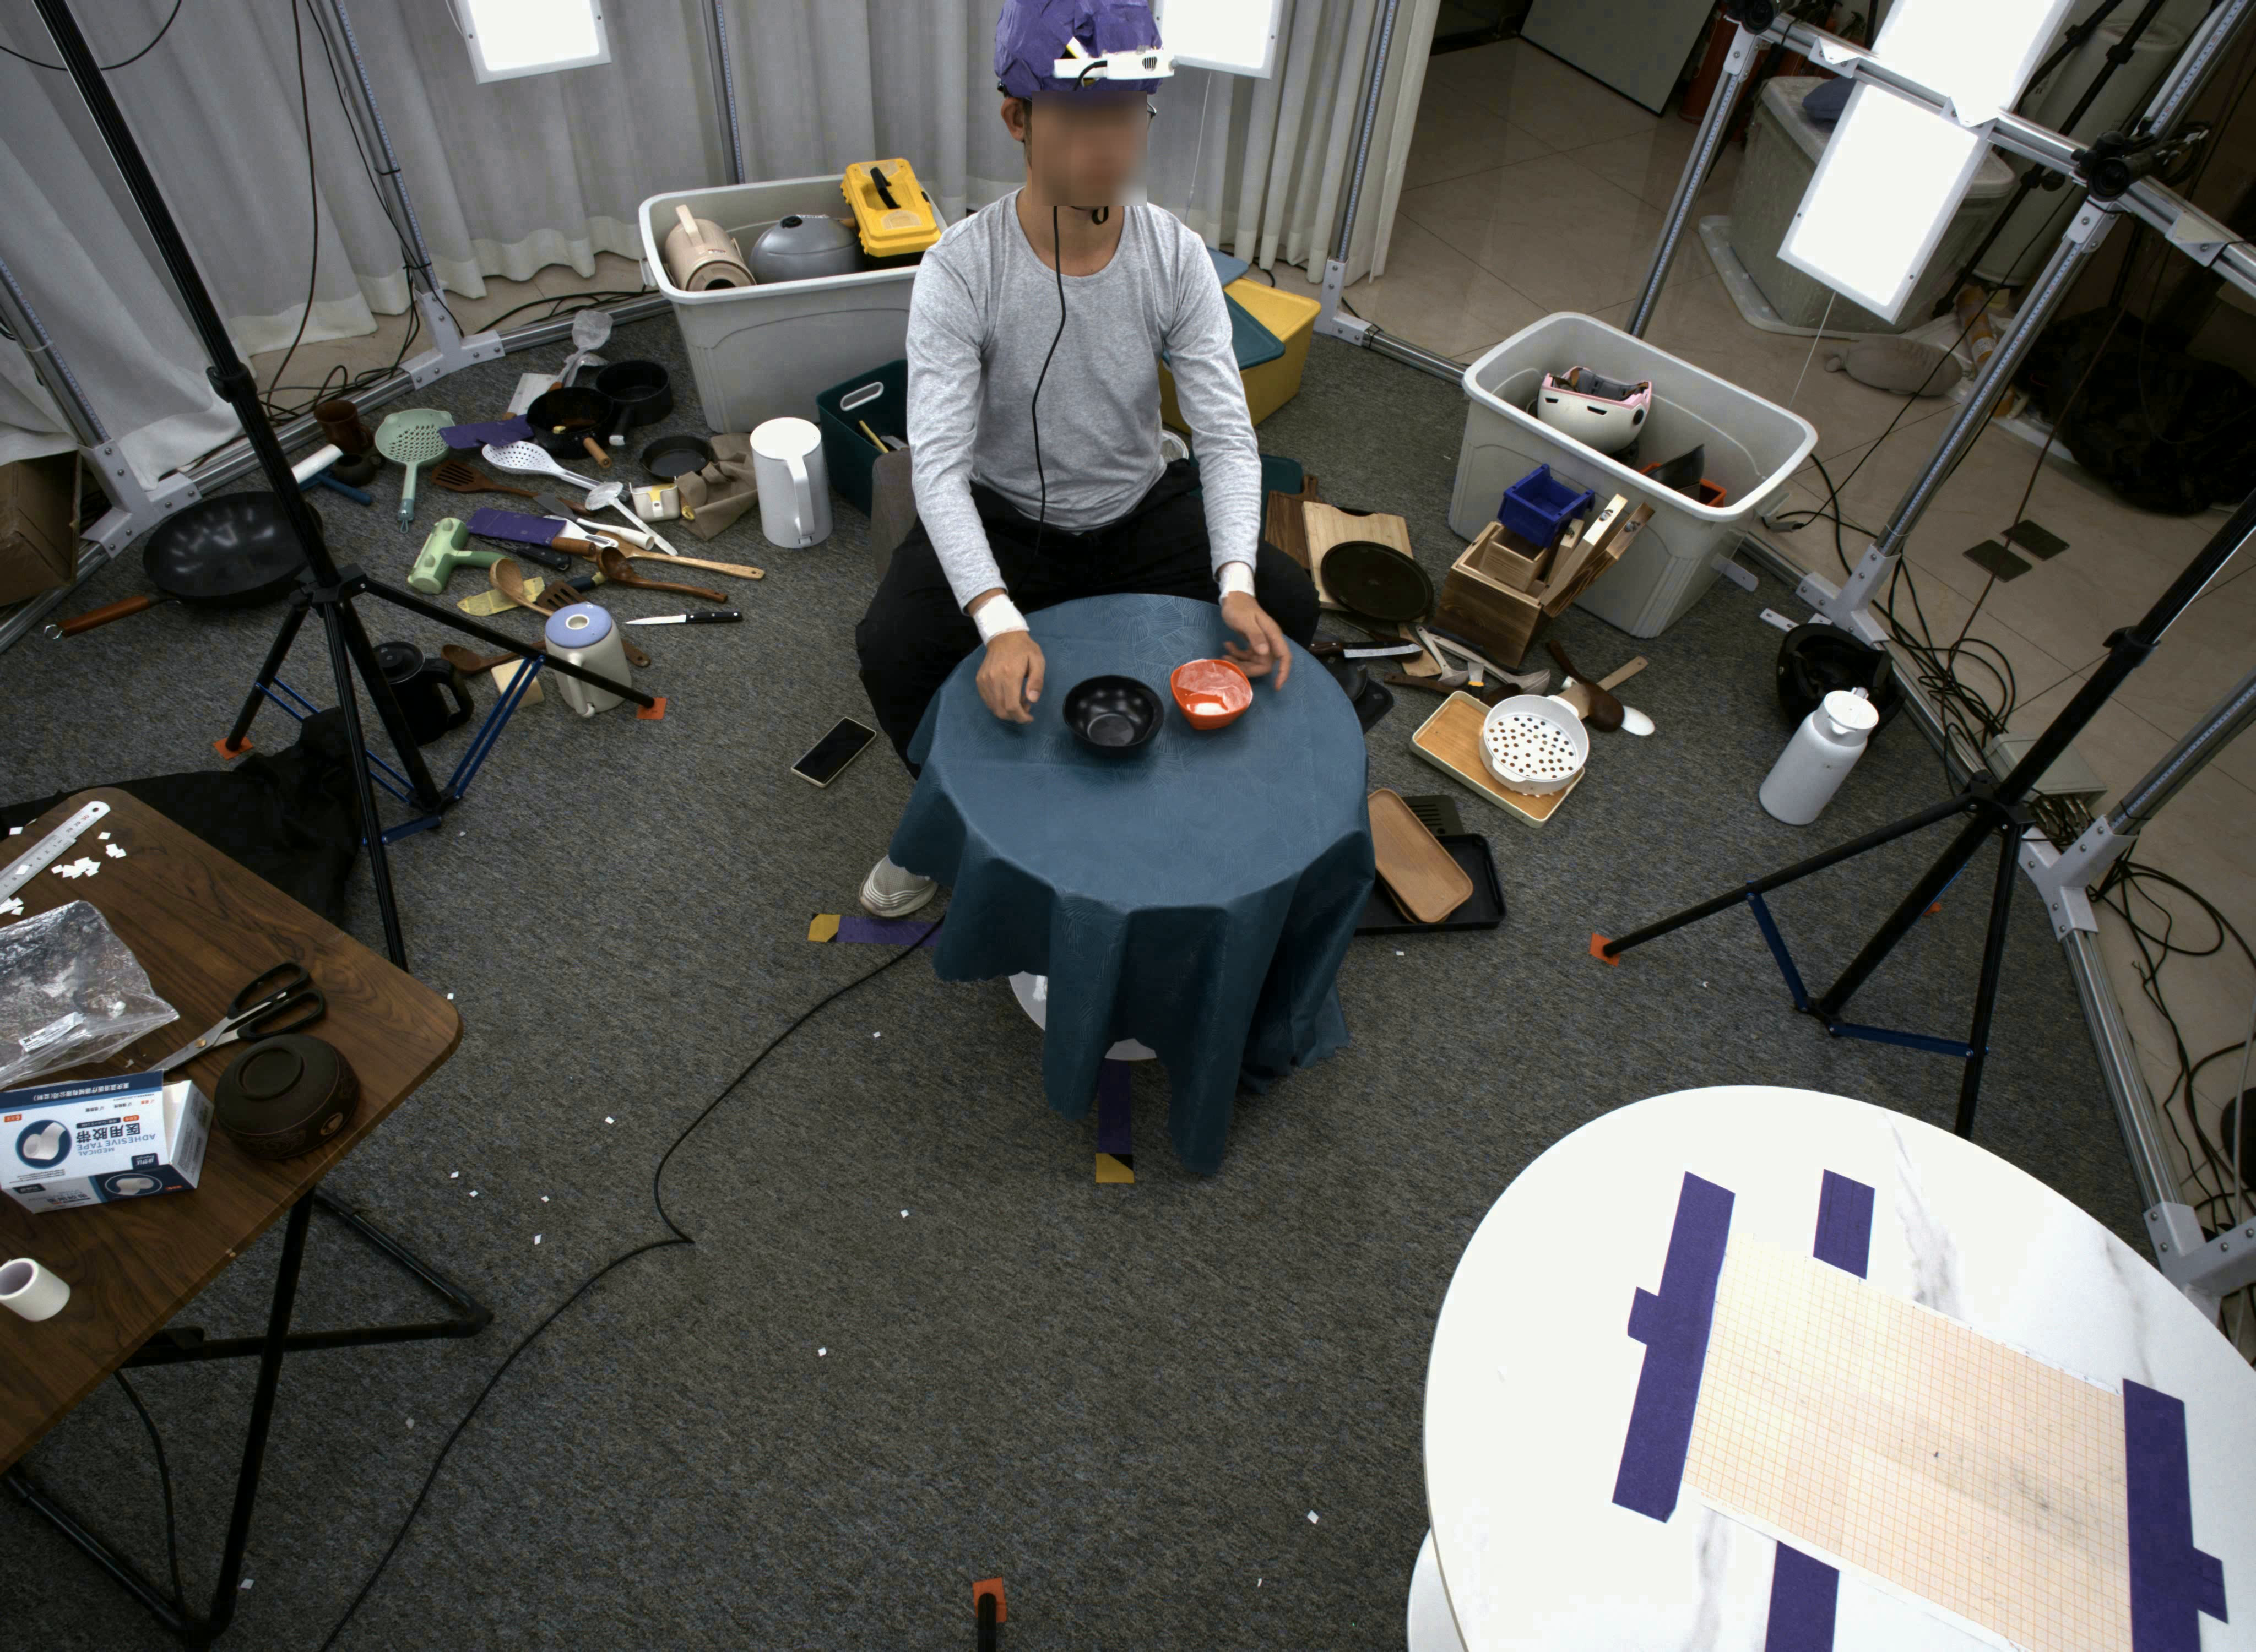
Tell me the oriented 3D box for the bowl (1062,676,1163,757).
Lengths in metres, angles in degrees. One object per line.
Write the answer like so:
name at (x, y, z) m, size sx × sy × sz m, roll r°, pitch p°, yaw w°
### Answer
bowl at (-0.022, -0.142, 1.759) m, size 0.140 × 0.048 × 0.143 m, roll 2°, pitch 47°, yaw -2°

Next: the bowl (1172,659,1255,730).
bowl at (0.118, -0.178, 1.796) m, size 0.119 × 0.050 × 0.122 m, roll 1°, pitch 50°, yaw -2°
